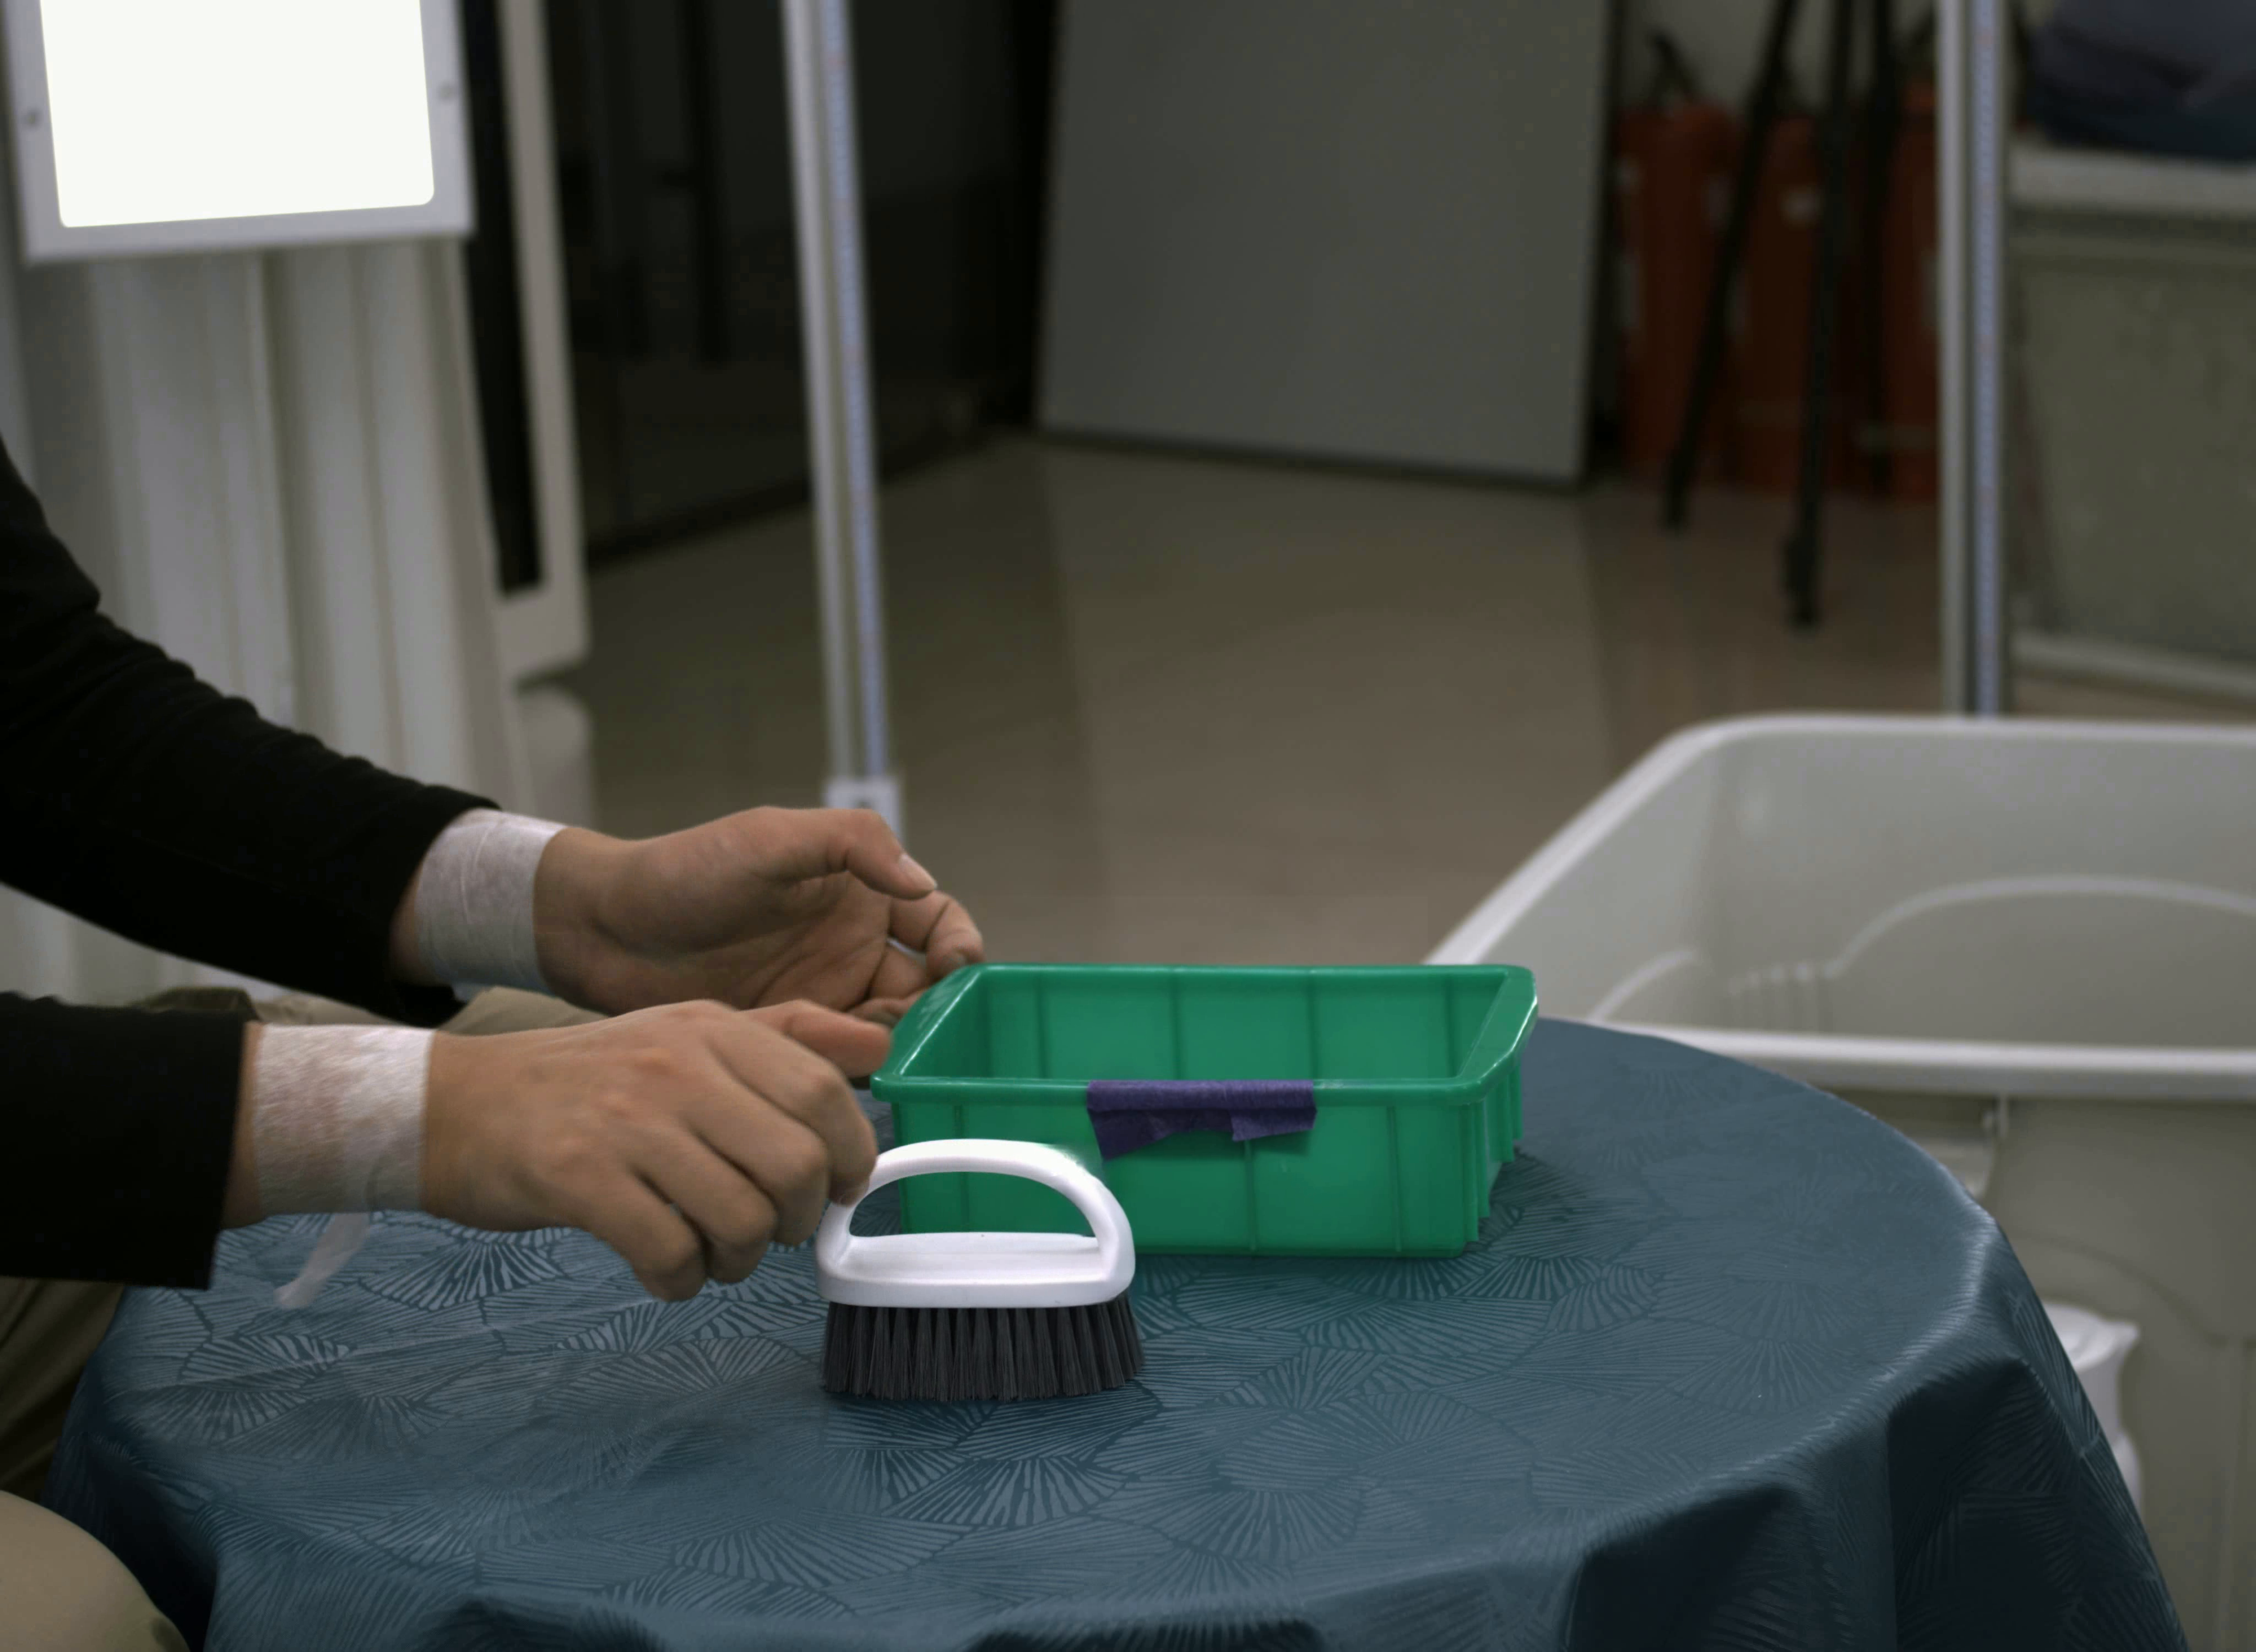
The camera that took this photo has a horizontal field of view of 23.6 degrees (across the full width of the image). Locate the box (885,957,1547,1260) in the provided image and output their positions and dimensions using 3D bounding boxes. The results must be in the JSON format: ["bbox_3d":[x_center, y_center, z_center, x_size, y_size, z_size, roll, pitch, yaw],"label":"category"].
[{"bbox_3d":[0.031,0.091,1.751,0.209,0.066,0.138,0,16,12],"label":"box"}]

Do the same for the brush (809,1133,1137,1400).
[{"bbox_3d":[-0.047,0.127,1.602,0.099,0.073,0.050,0,14,15],"label":"brush"}]
